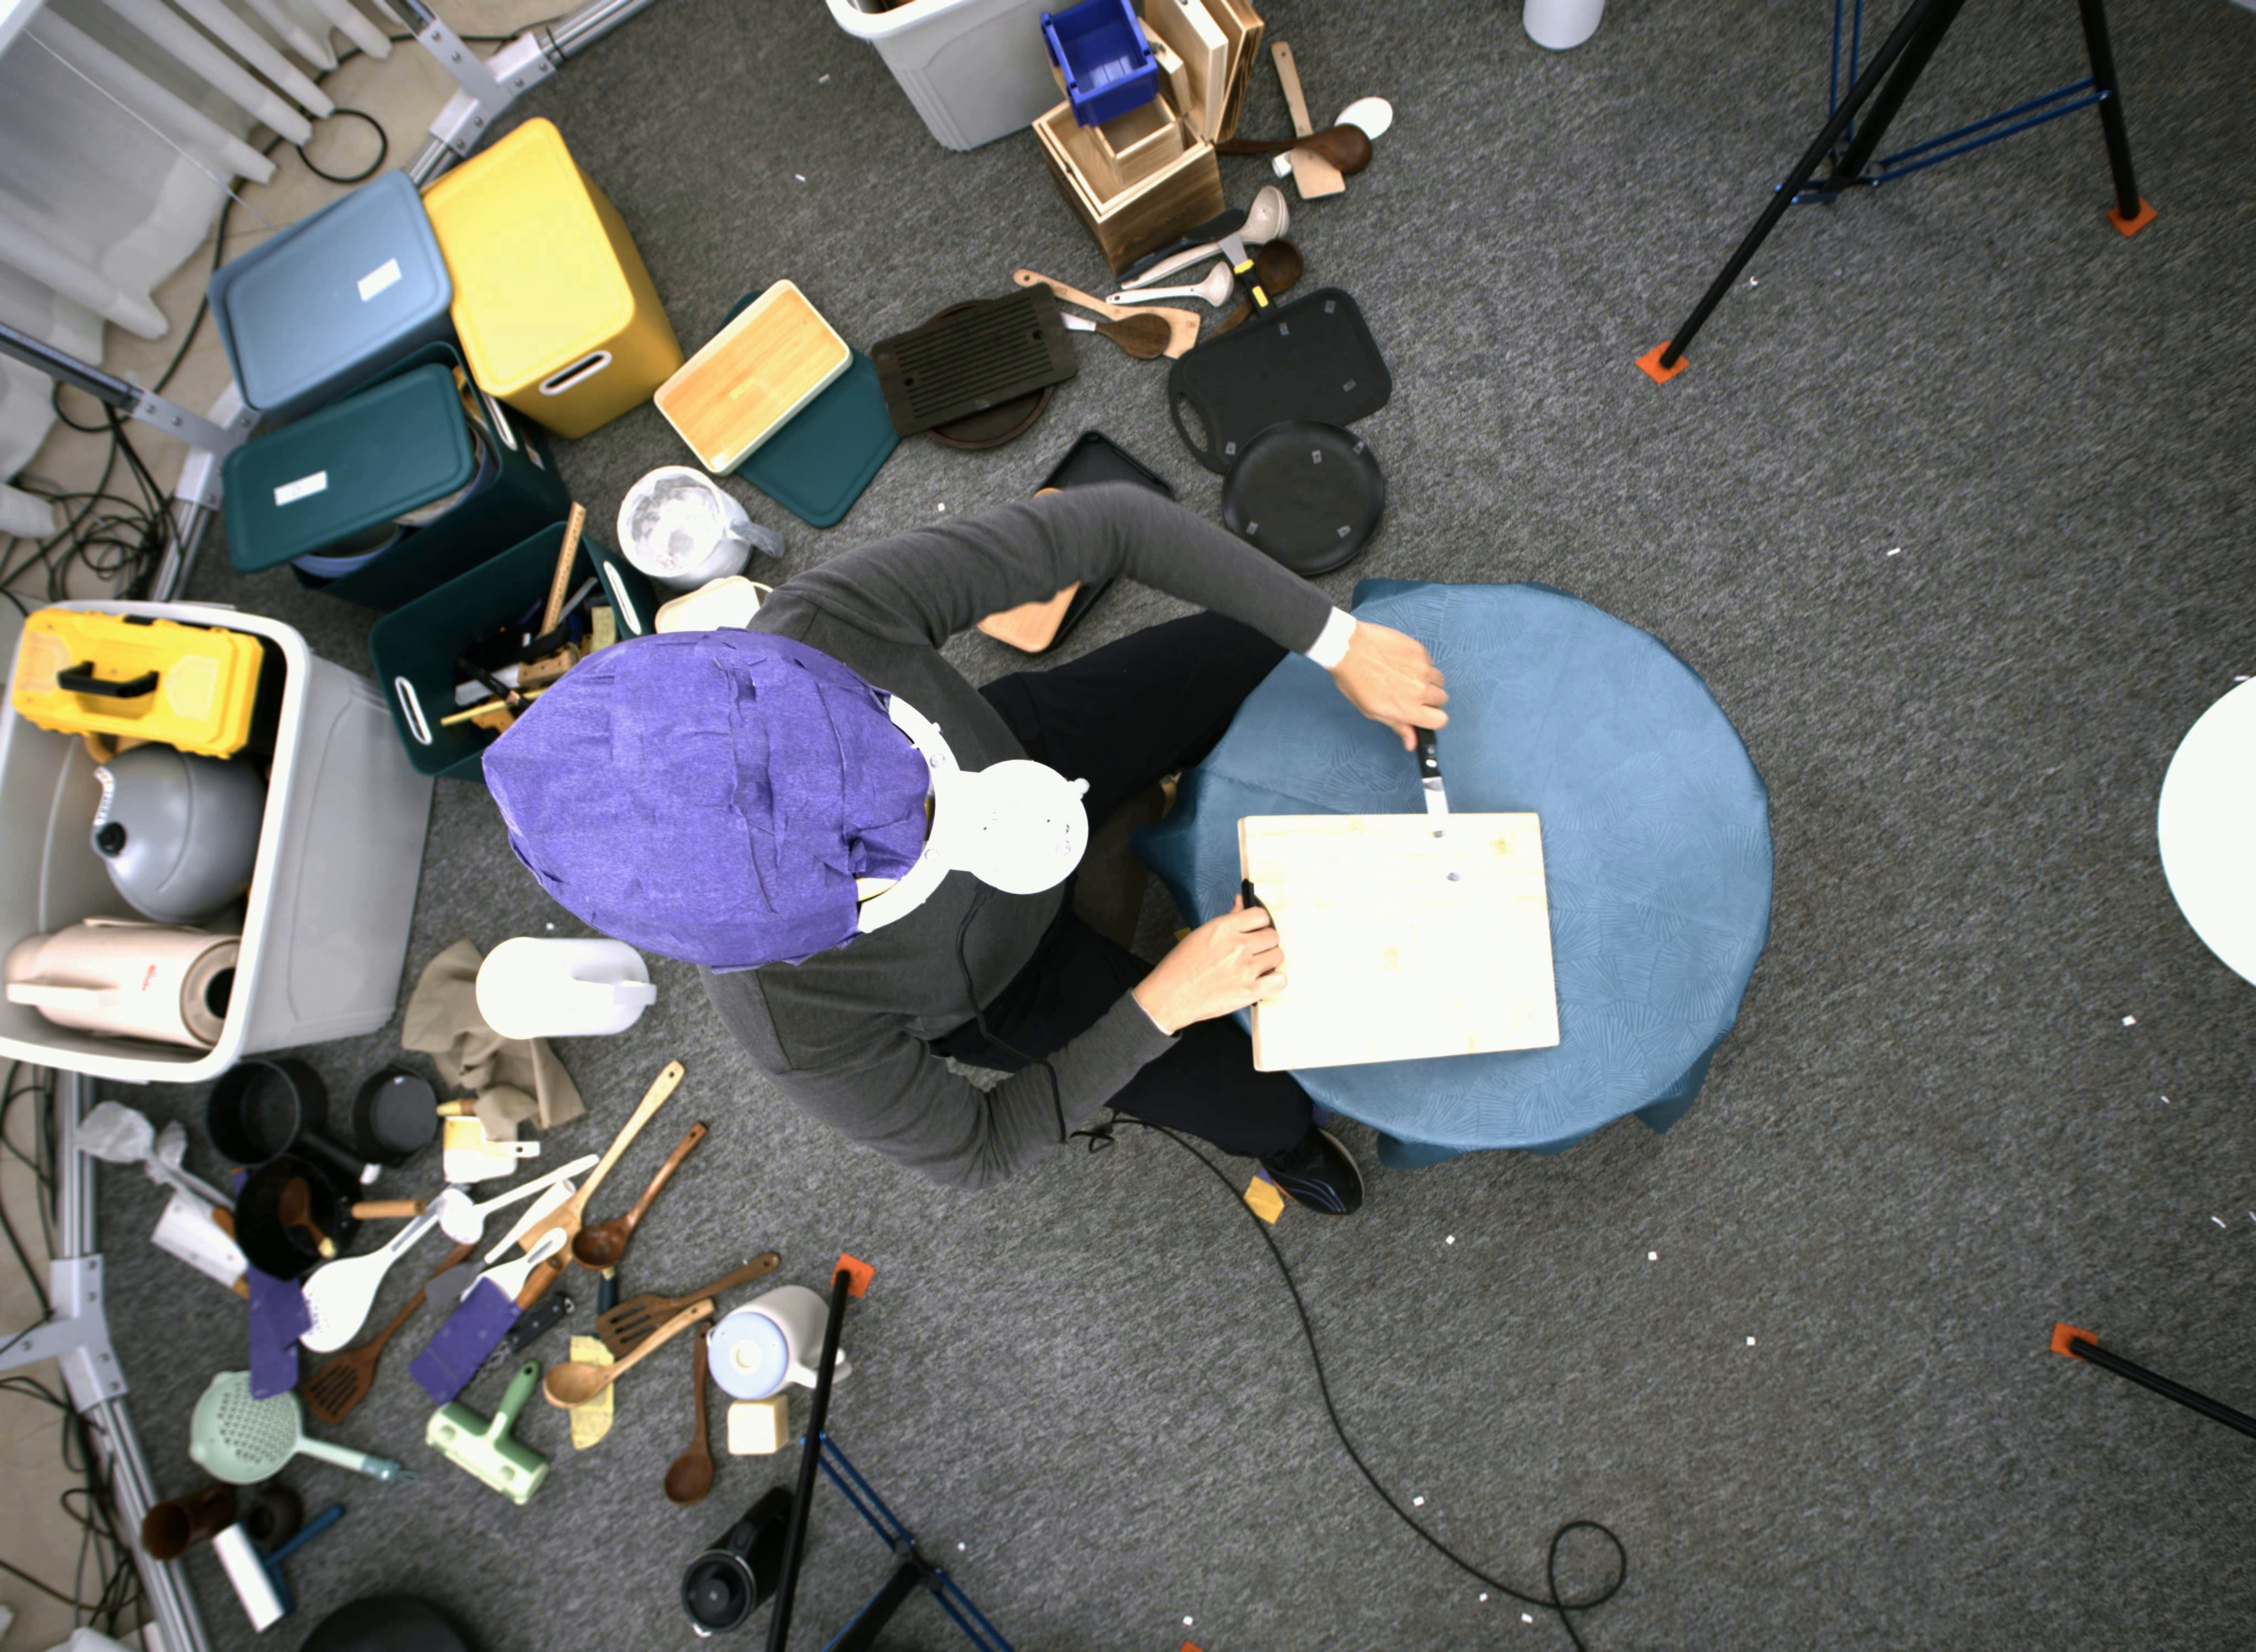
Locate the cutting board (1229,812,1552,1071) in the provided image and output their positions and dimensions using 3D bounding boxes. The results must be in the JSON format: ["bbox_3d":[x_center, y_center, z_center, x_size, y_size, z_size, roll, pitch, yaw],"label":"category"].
[{"bbox_3d":[0.266,0.106,1.361,0.347,0.024,0.249,-2,85,-21],"label":"cutting board"}]

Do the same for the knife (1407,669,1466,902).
[{"bbox_3d":[0.311,-0.042,1.379,0.024,0.016,0.238,-11,89,-16],"label":"knife"}]
